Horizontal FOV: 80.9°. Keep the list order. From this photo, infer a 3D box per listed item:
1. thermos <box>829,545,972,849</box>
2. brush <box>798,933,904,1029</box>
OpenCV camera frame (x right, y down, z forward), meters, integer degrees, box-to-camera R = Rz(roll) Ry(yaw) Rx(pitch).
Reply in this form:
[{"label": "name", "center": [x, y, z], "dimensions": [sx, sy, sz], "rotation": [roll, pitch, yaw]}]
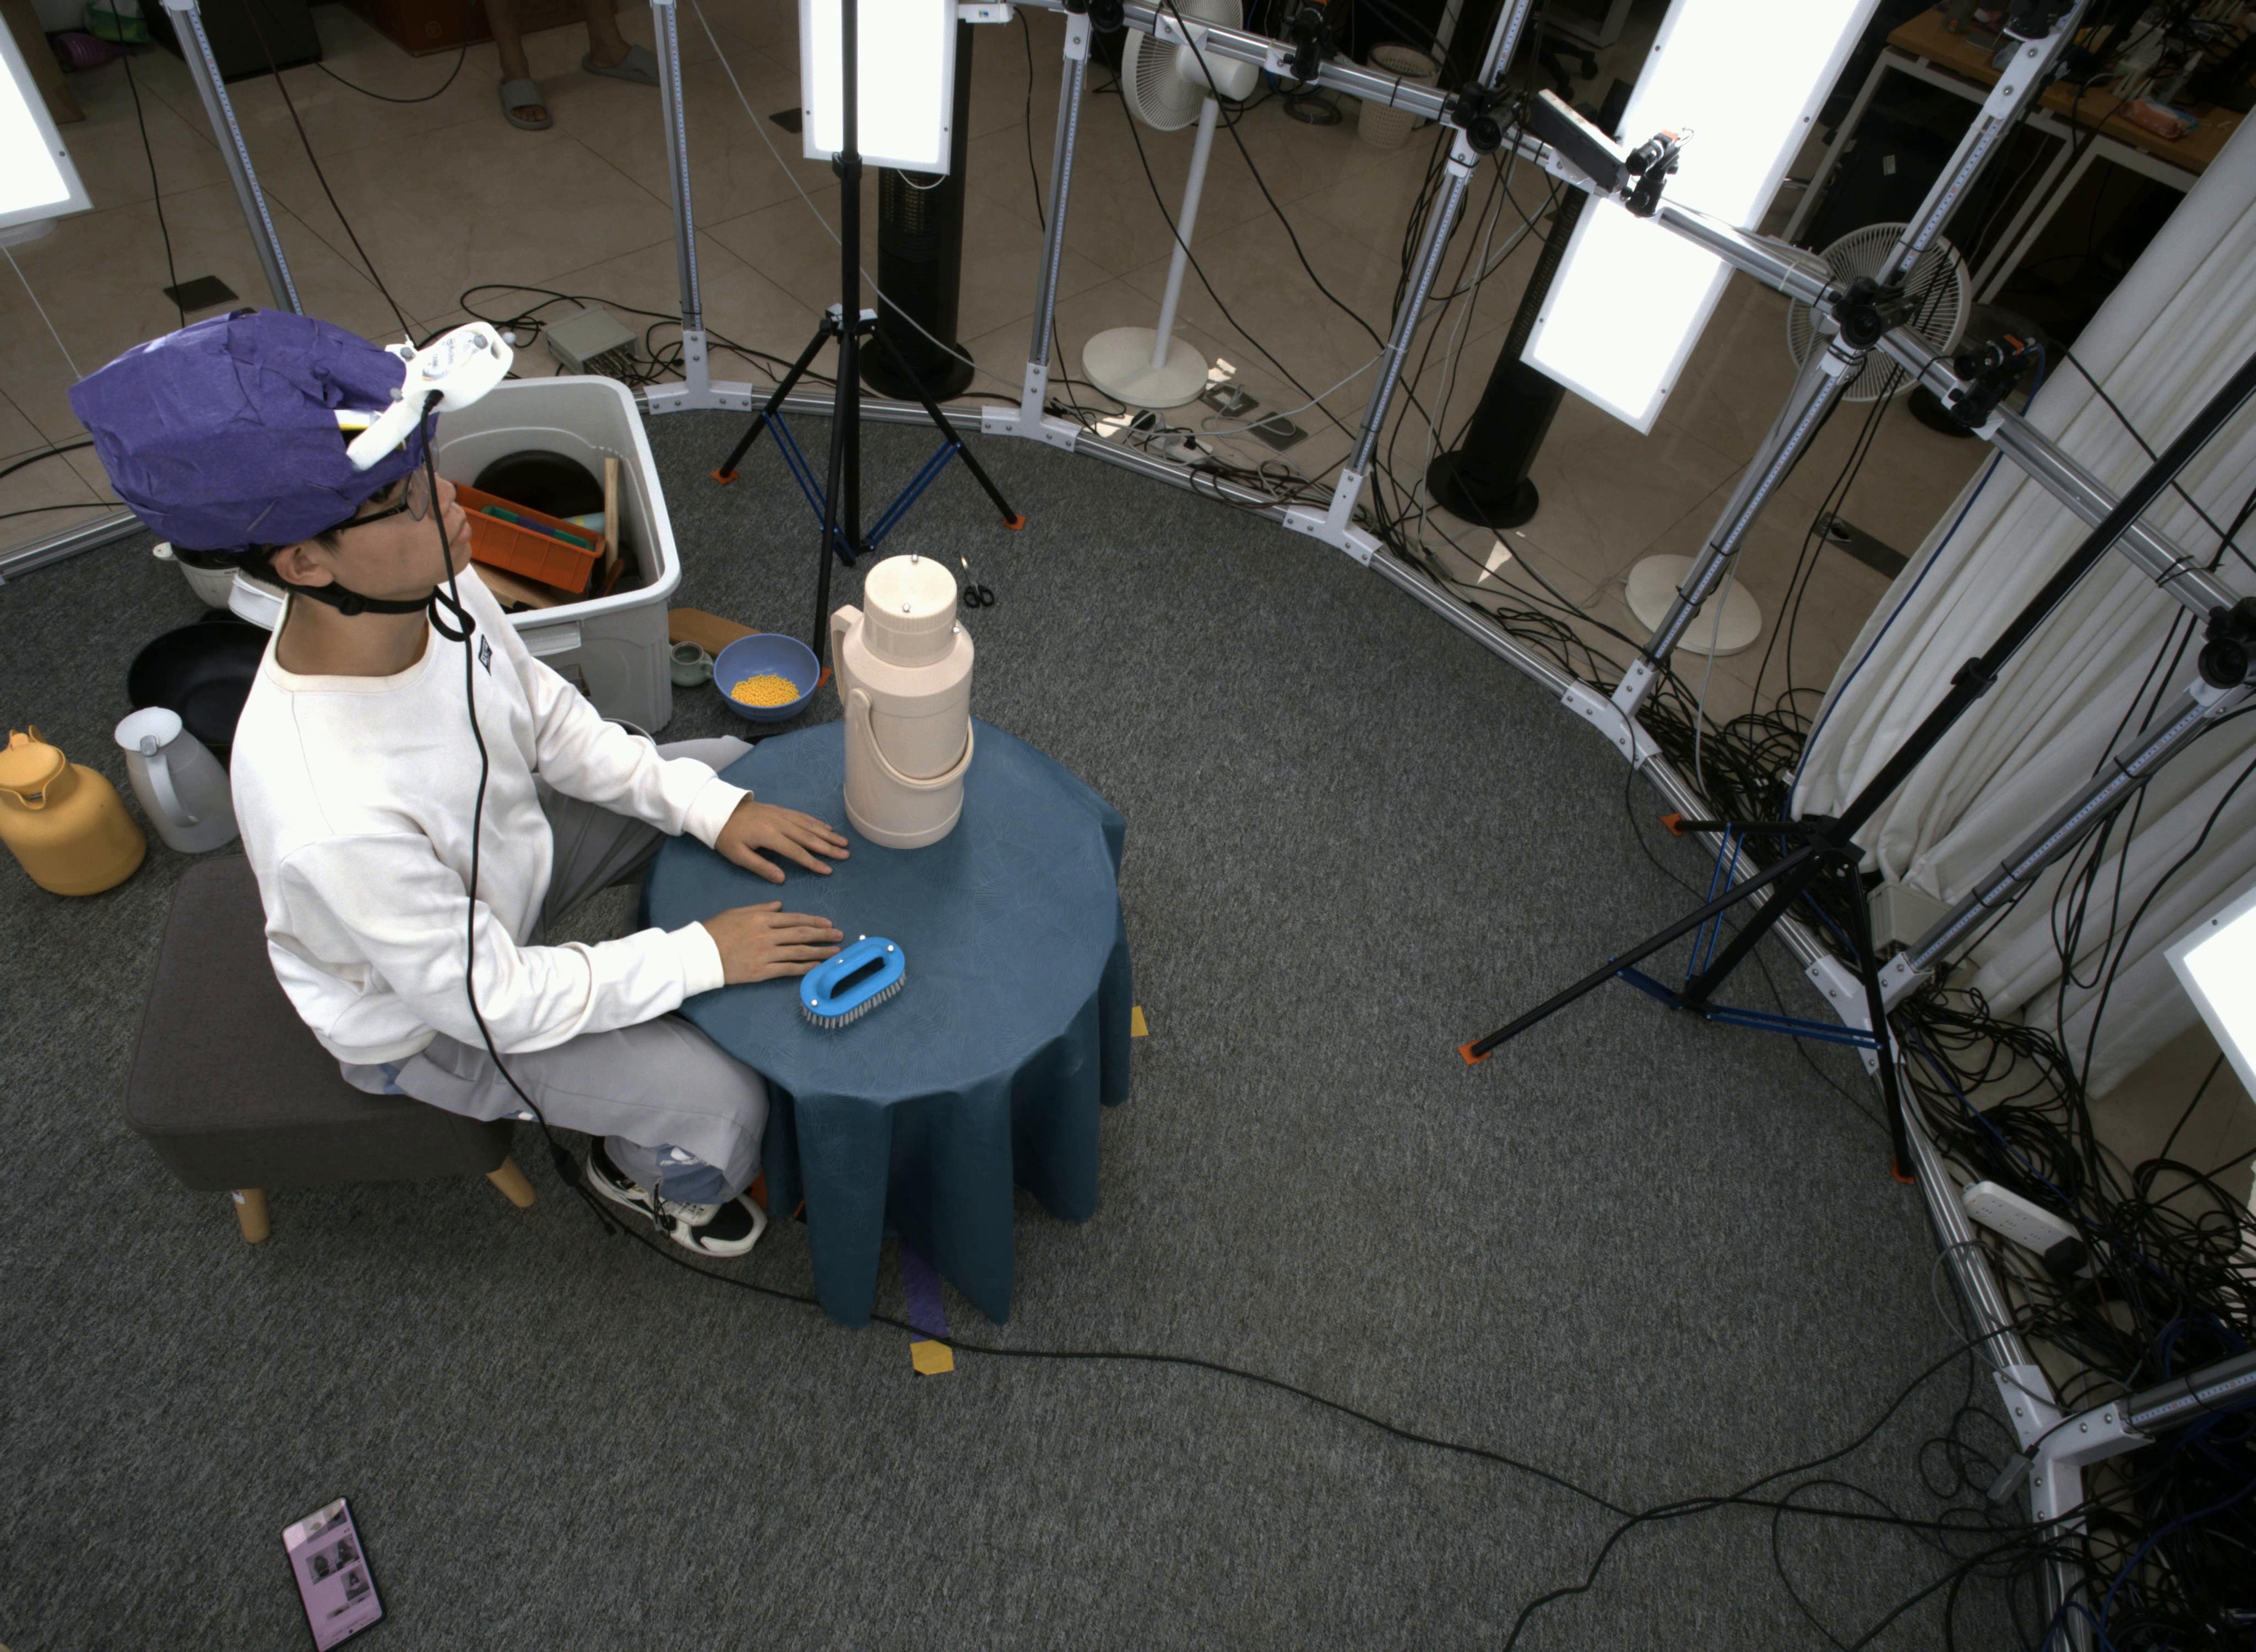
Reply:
[{"label": "thermos", "center": [-0.290, -0.164, 1.633], "dimensions": [0.203, 0.415, 0.175], "rotation": [32, 55, 15]}, {"label": "brush", "center": [-0.335, 0.180, 1.580], "dimensions": [0.142, 0.065, 0.083], "rotation": [-32, 70, -30]}]
